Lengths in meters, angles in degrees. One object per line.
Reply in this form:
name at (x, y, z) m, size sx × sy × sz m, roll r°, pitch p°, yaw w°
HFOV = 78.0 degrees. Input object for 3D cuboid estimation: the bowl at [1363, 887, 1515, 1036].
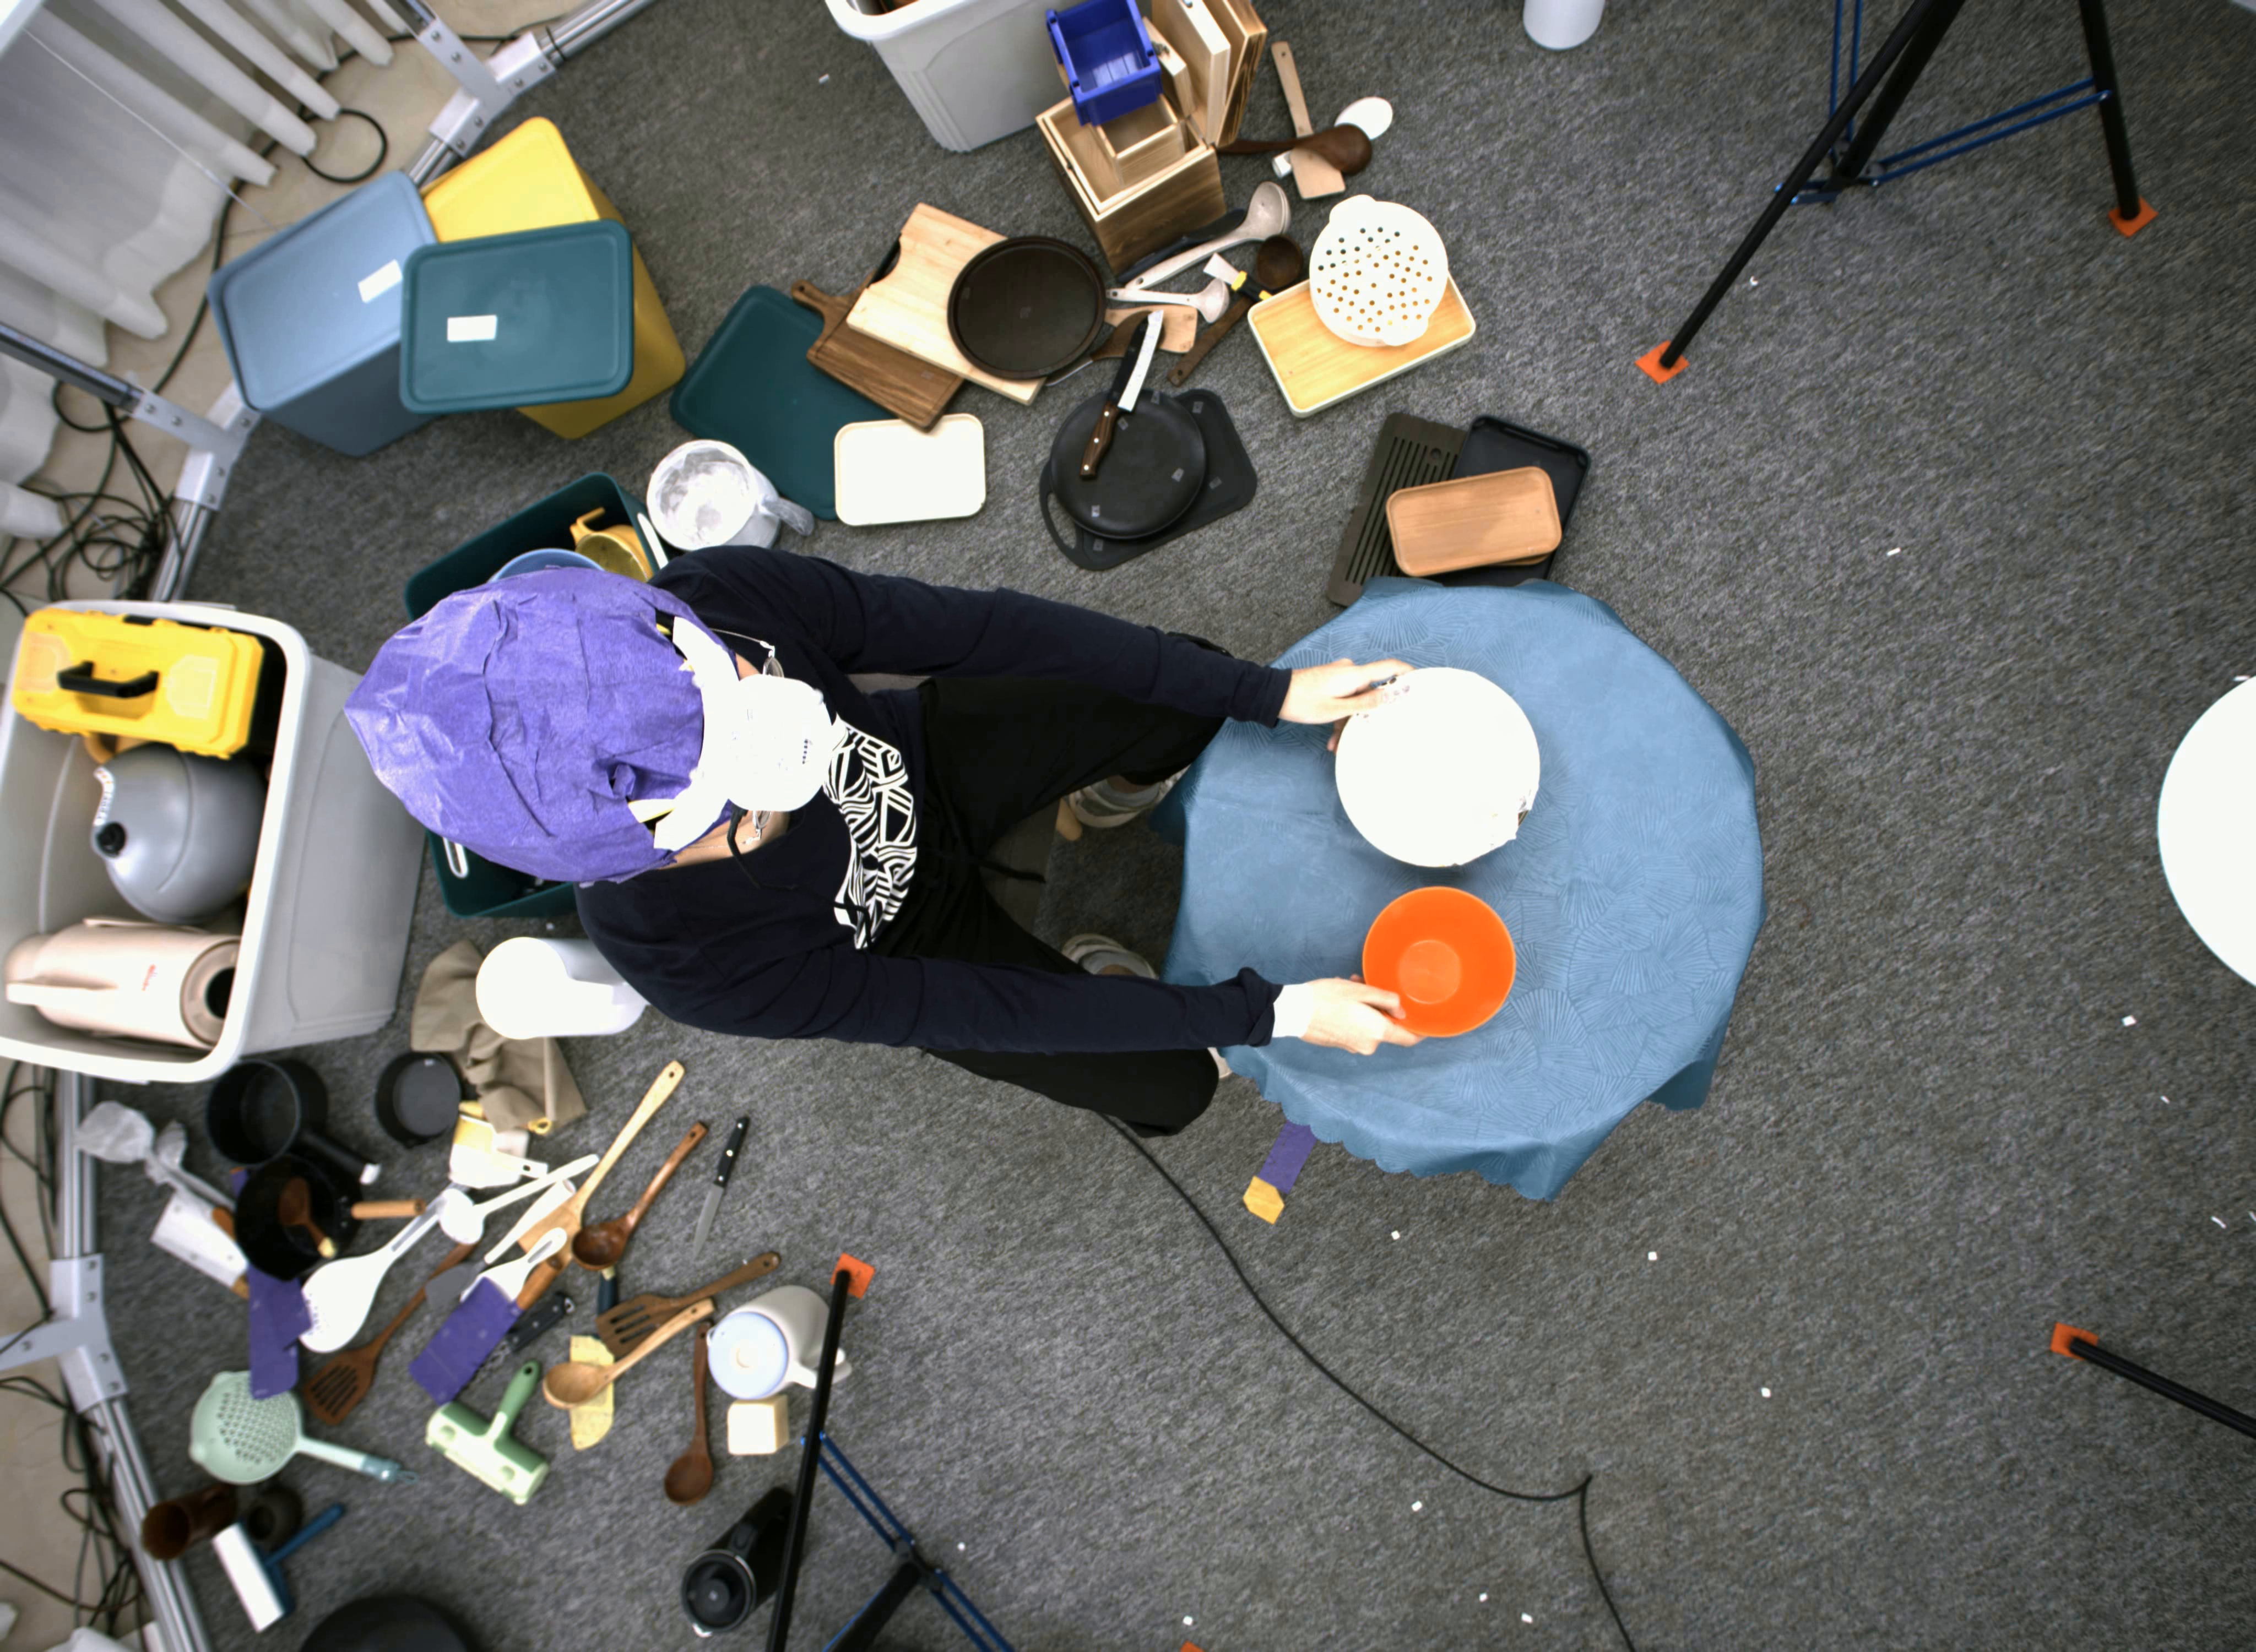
bowl at (0.313, 0.136, 1.398) m, size 0.148 × 0.104 × 0.147 m, roll -1°, pitch 87°, yaw 12°

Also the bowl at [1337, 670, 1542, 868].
bowl at (0.320, -0.055, 1.420) m, size 0.205 × 0.078 × 0.203 m, roll -2°, pitch 84°, yaw 13°
